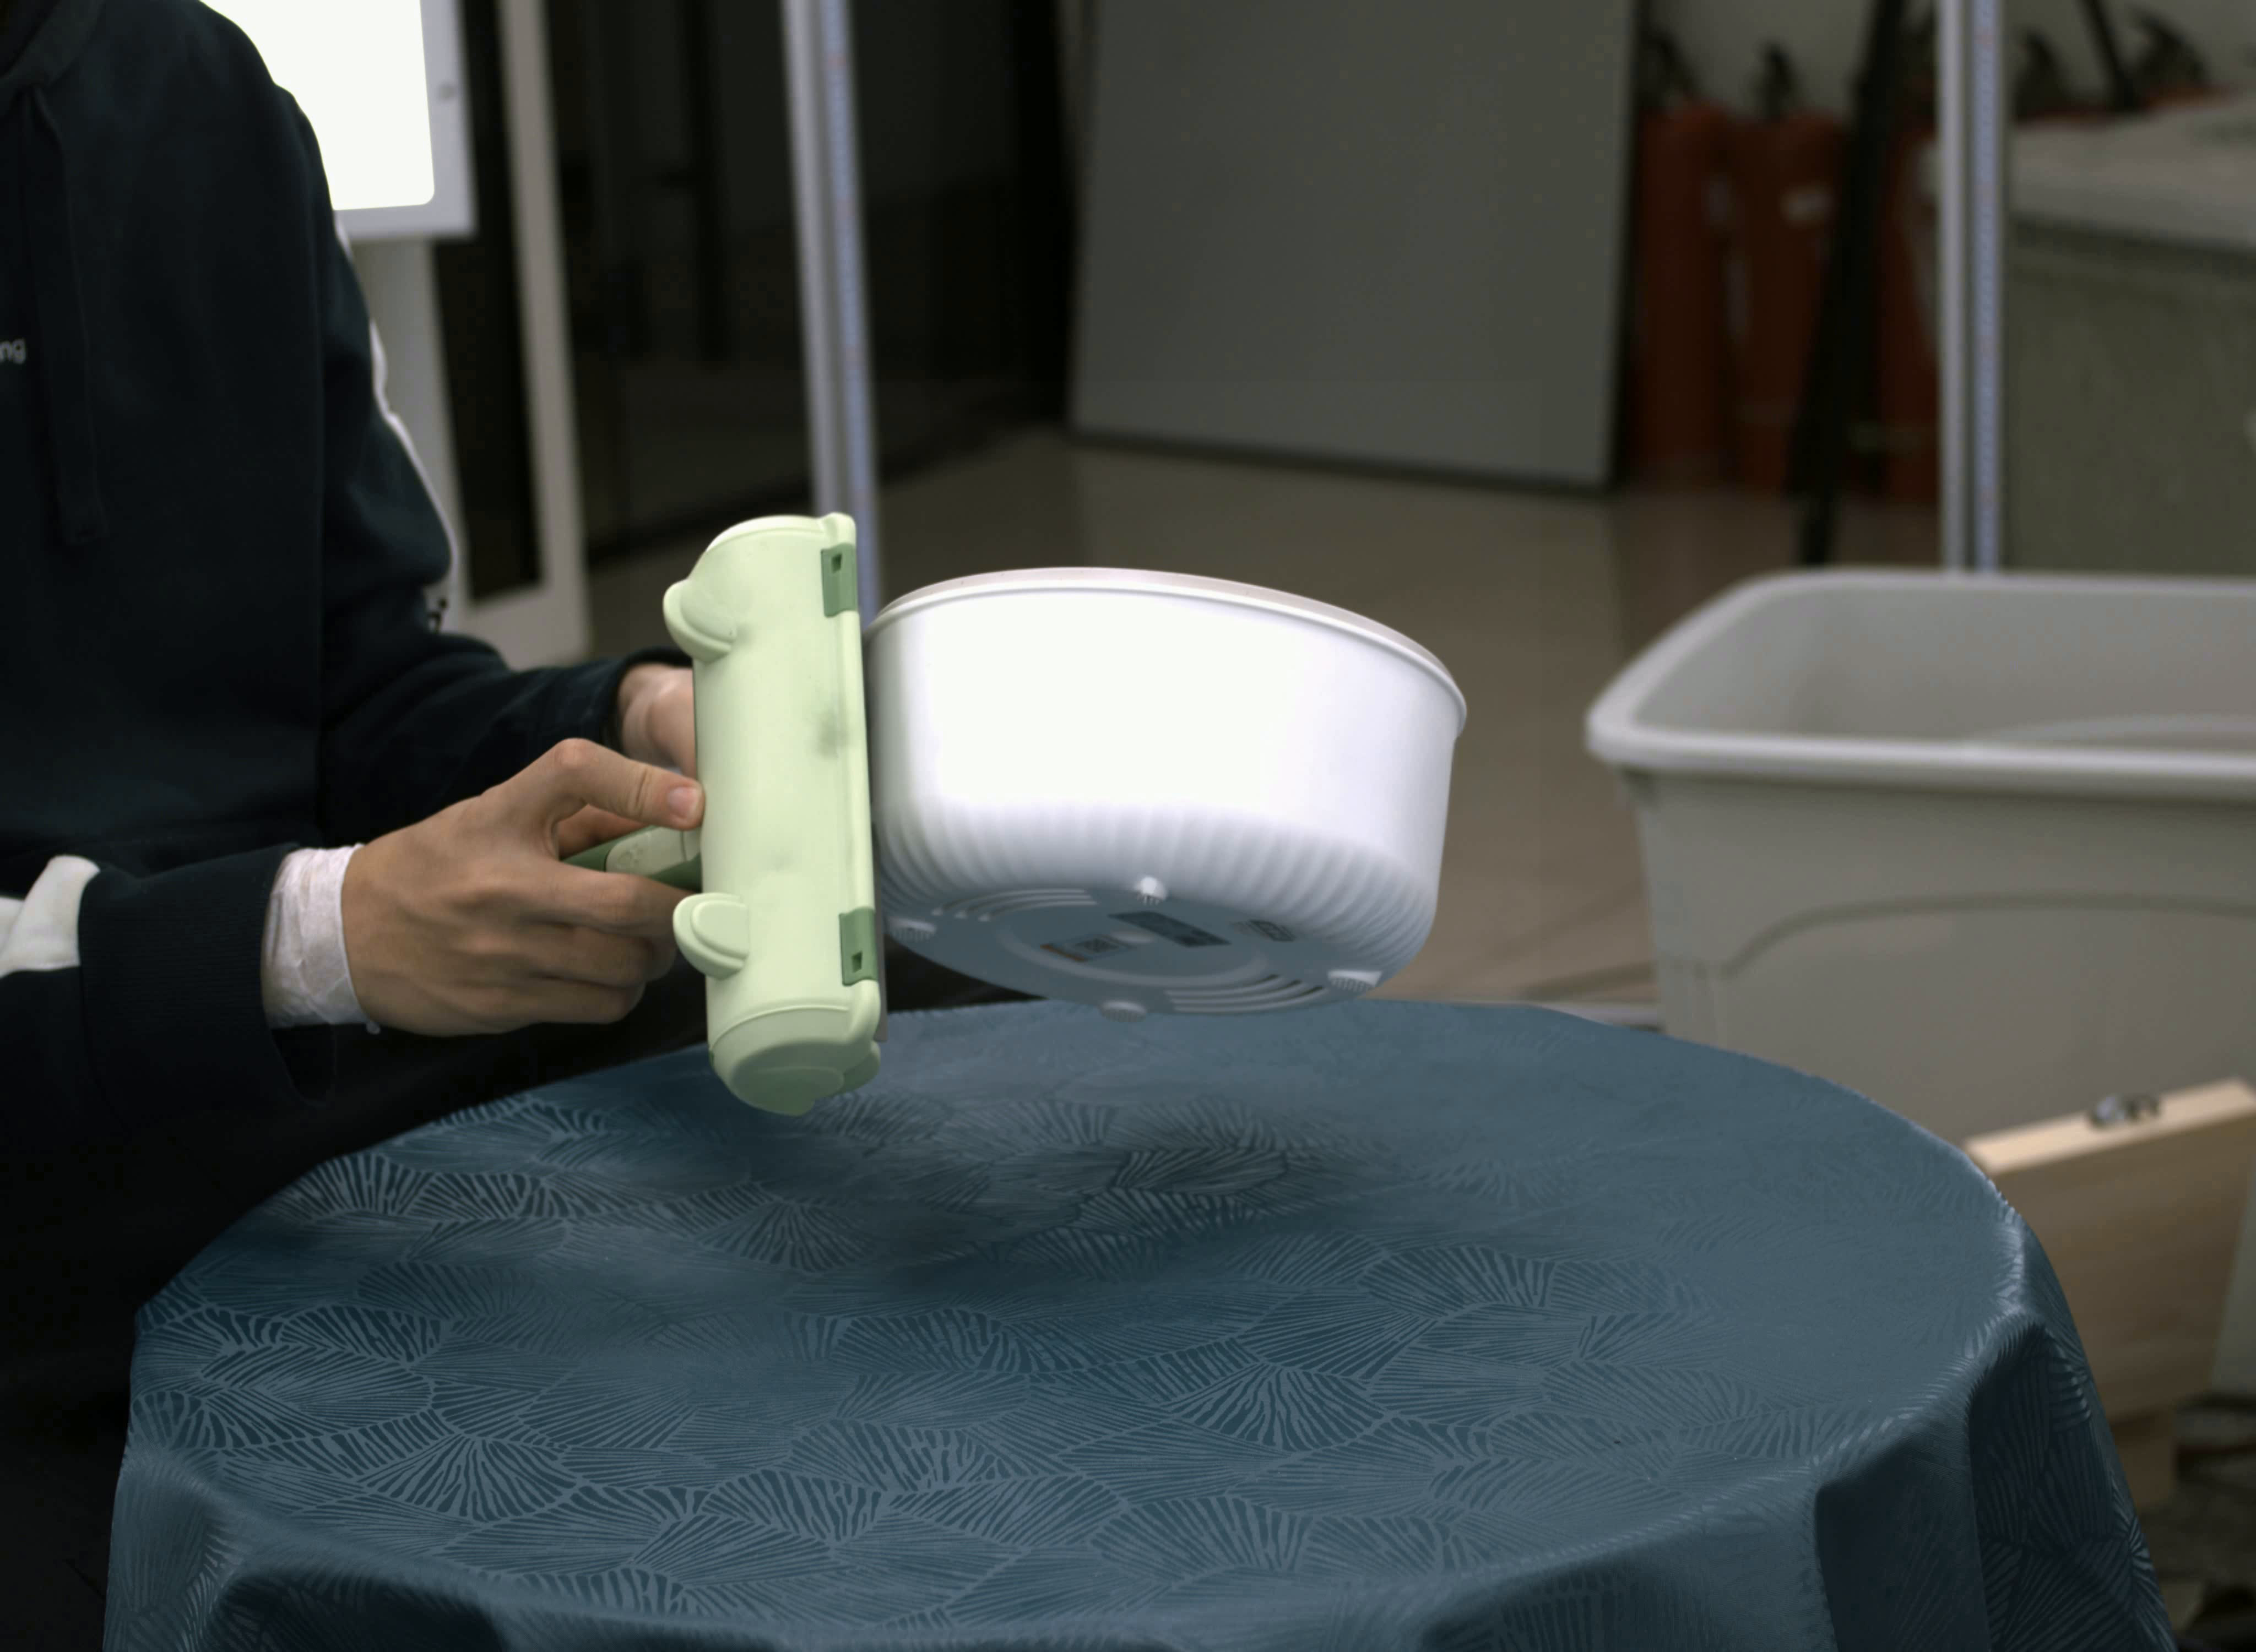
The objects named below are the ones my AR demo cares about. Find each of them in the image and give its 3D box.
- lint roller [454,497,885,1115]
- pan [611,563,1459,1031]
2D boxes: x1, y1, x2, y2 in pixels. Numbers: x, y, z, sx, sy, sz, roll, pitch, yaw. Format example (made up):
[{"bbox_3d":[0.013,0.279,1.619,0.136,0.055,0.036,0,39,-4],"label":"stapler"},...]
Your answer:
[{"bbox_3d":[-0.157,0.007,1.716,0.184,0.201,0.081,-21,-34,25],"label":"lint roller"},{"bbox_3d":[-0.050,0.008,1.803,0.358,0.103,0.197,-12,-24,44],"label":"pan"}]
